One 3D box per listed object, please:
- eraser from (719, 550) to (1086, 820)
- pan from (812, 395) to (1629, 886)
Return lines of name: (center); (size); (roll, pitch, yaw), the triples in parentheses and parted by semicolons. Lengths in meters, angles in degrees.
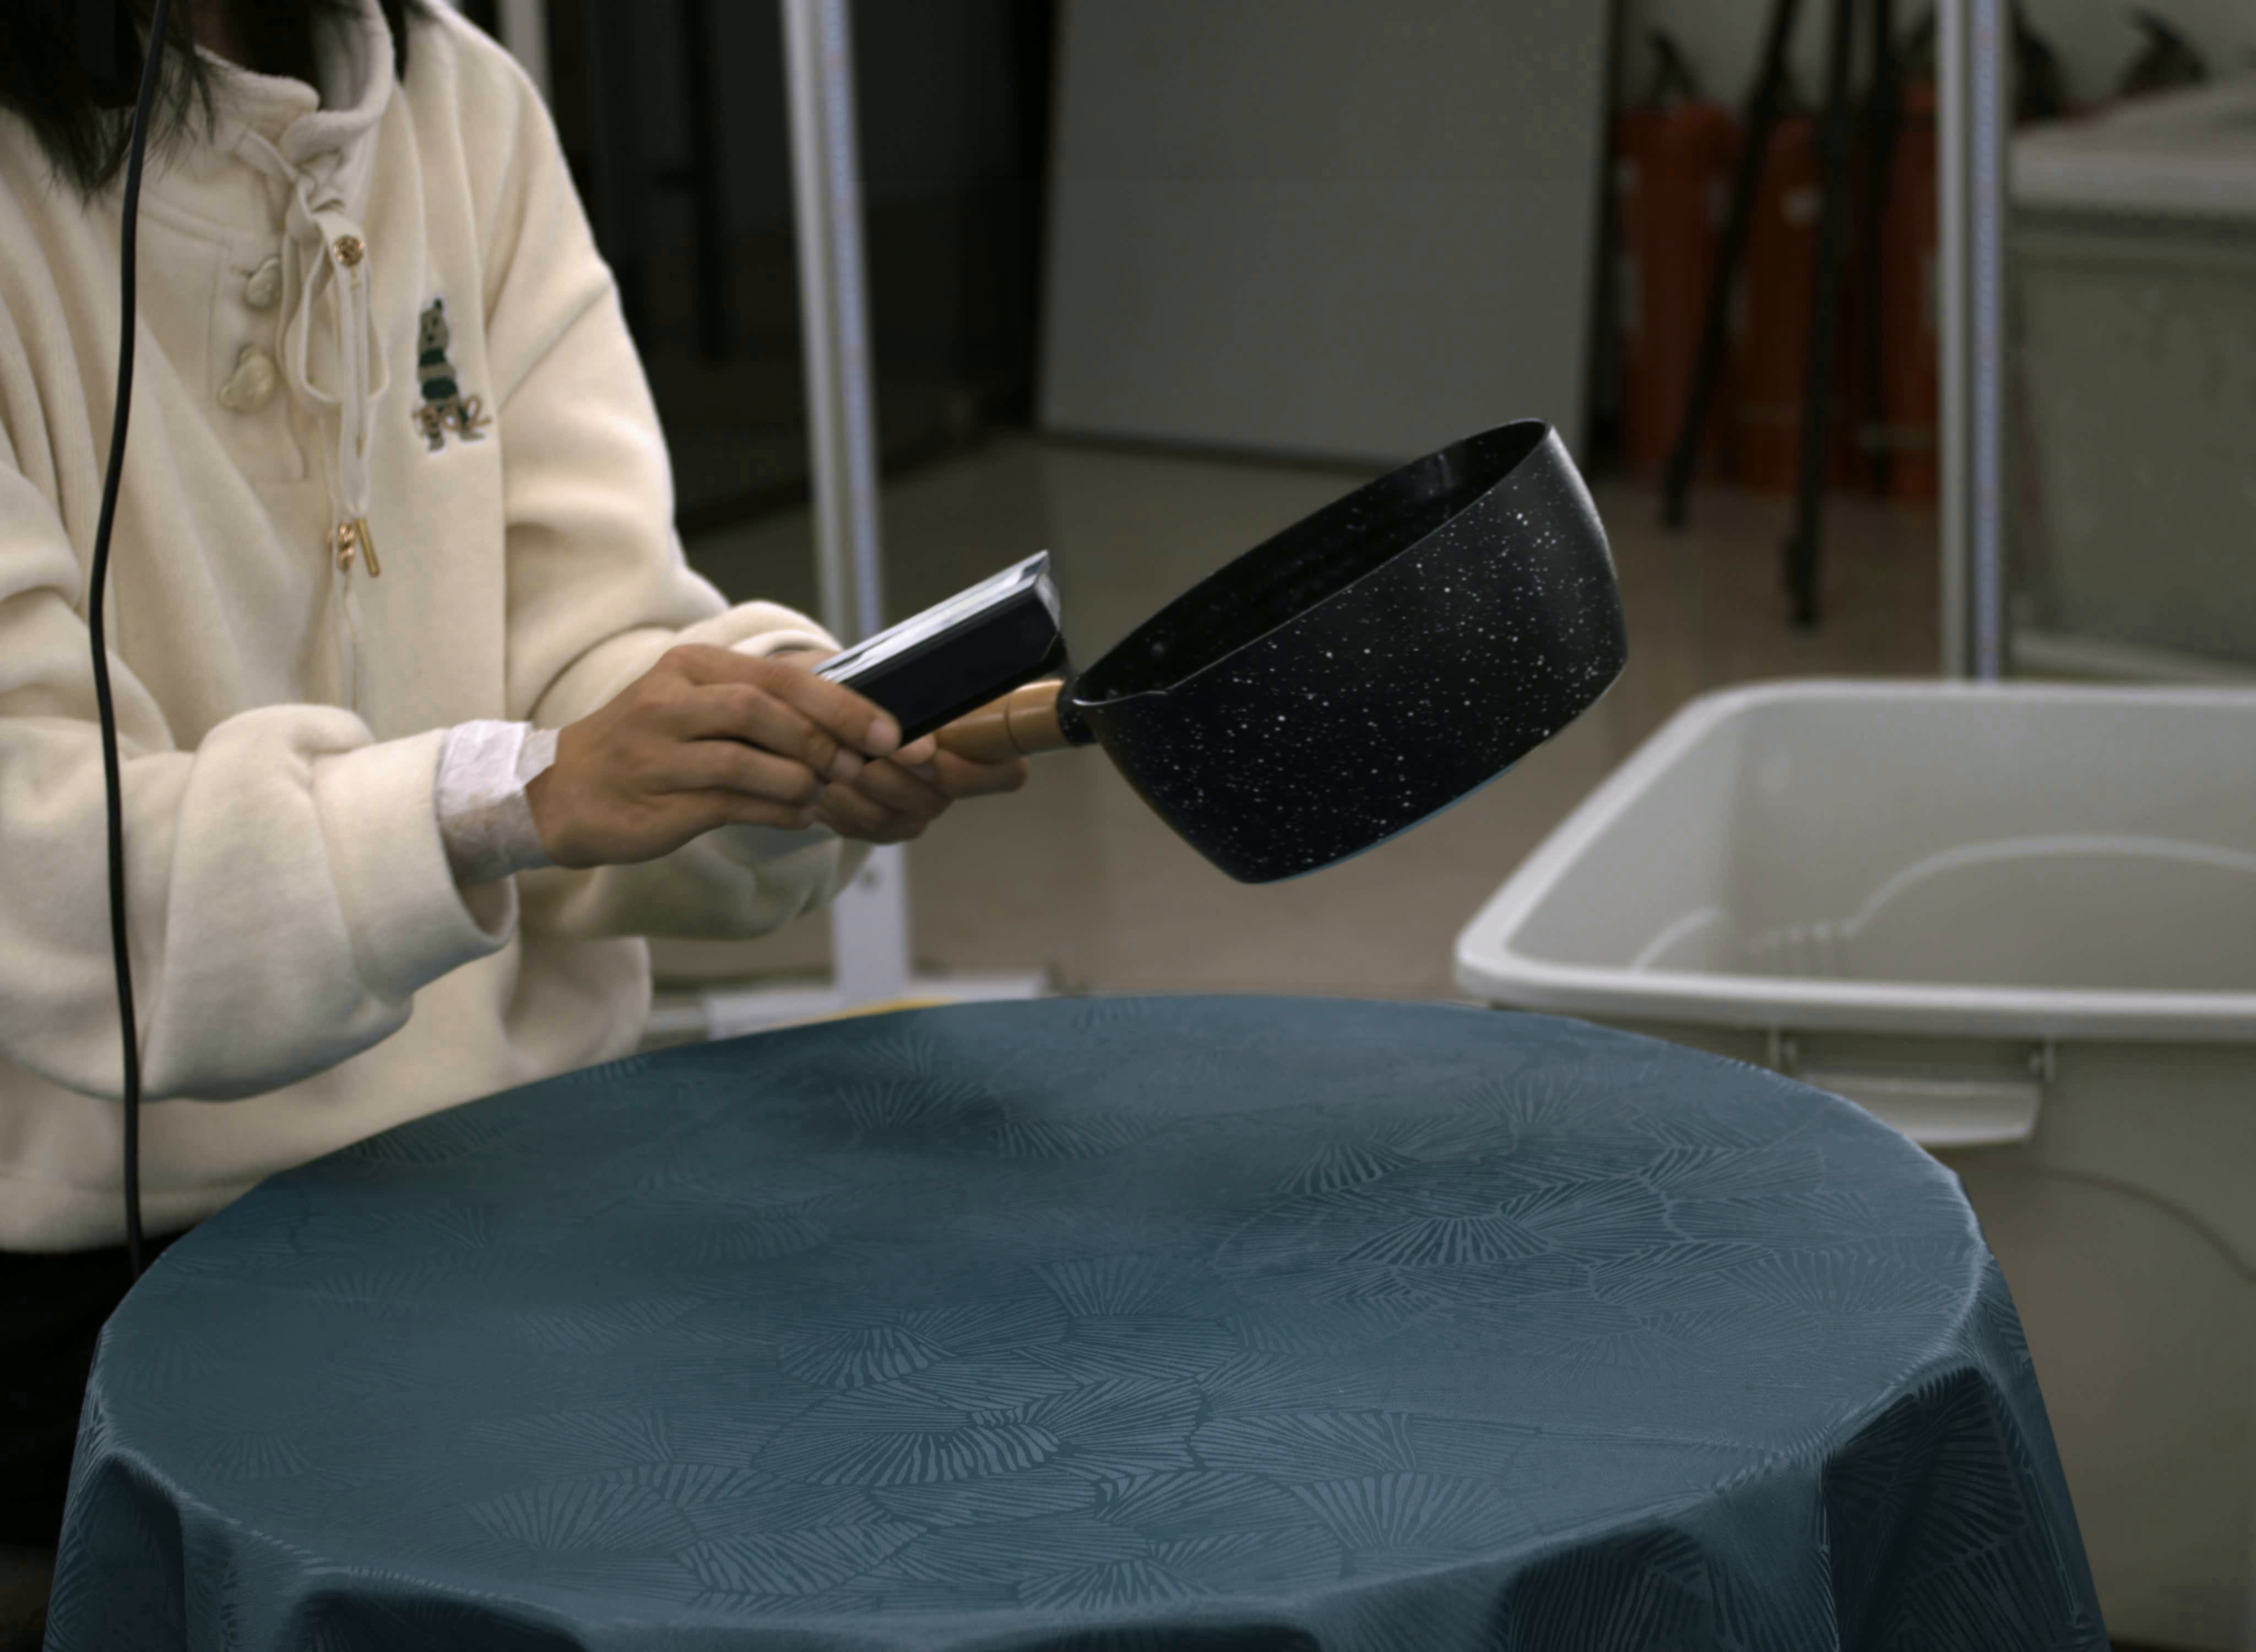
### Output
eraser: (-0.073, -0.047, 1.779); (0.125, 0.030, 0.053); (-28, 12, 16)
pan: (0.018, -0.039, 1.830); (0.345, 0.108, 0.205); (-23, 13, 37)
